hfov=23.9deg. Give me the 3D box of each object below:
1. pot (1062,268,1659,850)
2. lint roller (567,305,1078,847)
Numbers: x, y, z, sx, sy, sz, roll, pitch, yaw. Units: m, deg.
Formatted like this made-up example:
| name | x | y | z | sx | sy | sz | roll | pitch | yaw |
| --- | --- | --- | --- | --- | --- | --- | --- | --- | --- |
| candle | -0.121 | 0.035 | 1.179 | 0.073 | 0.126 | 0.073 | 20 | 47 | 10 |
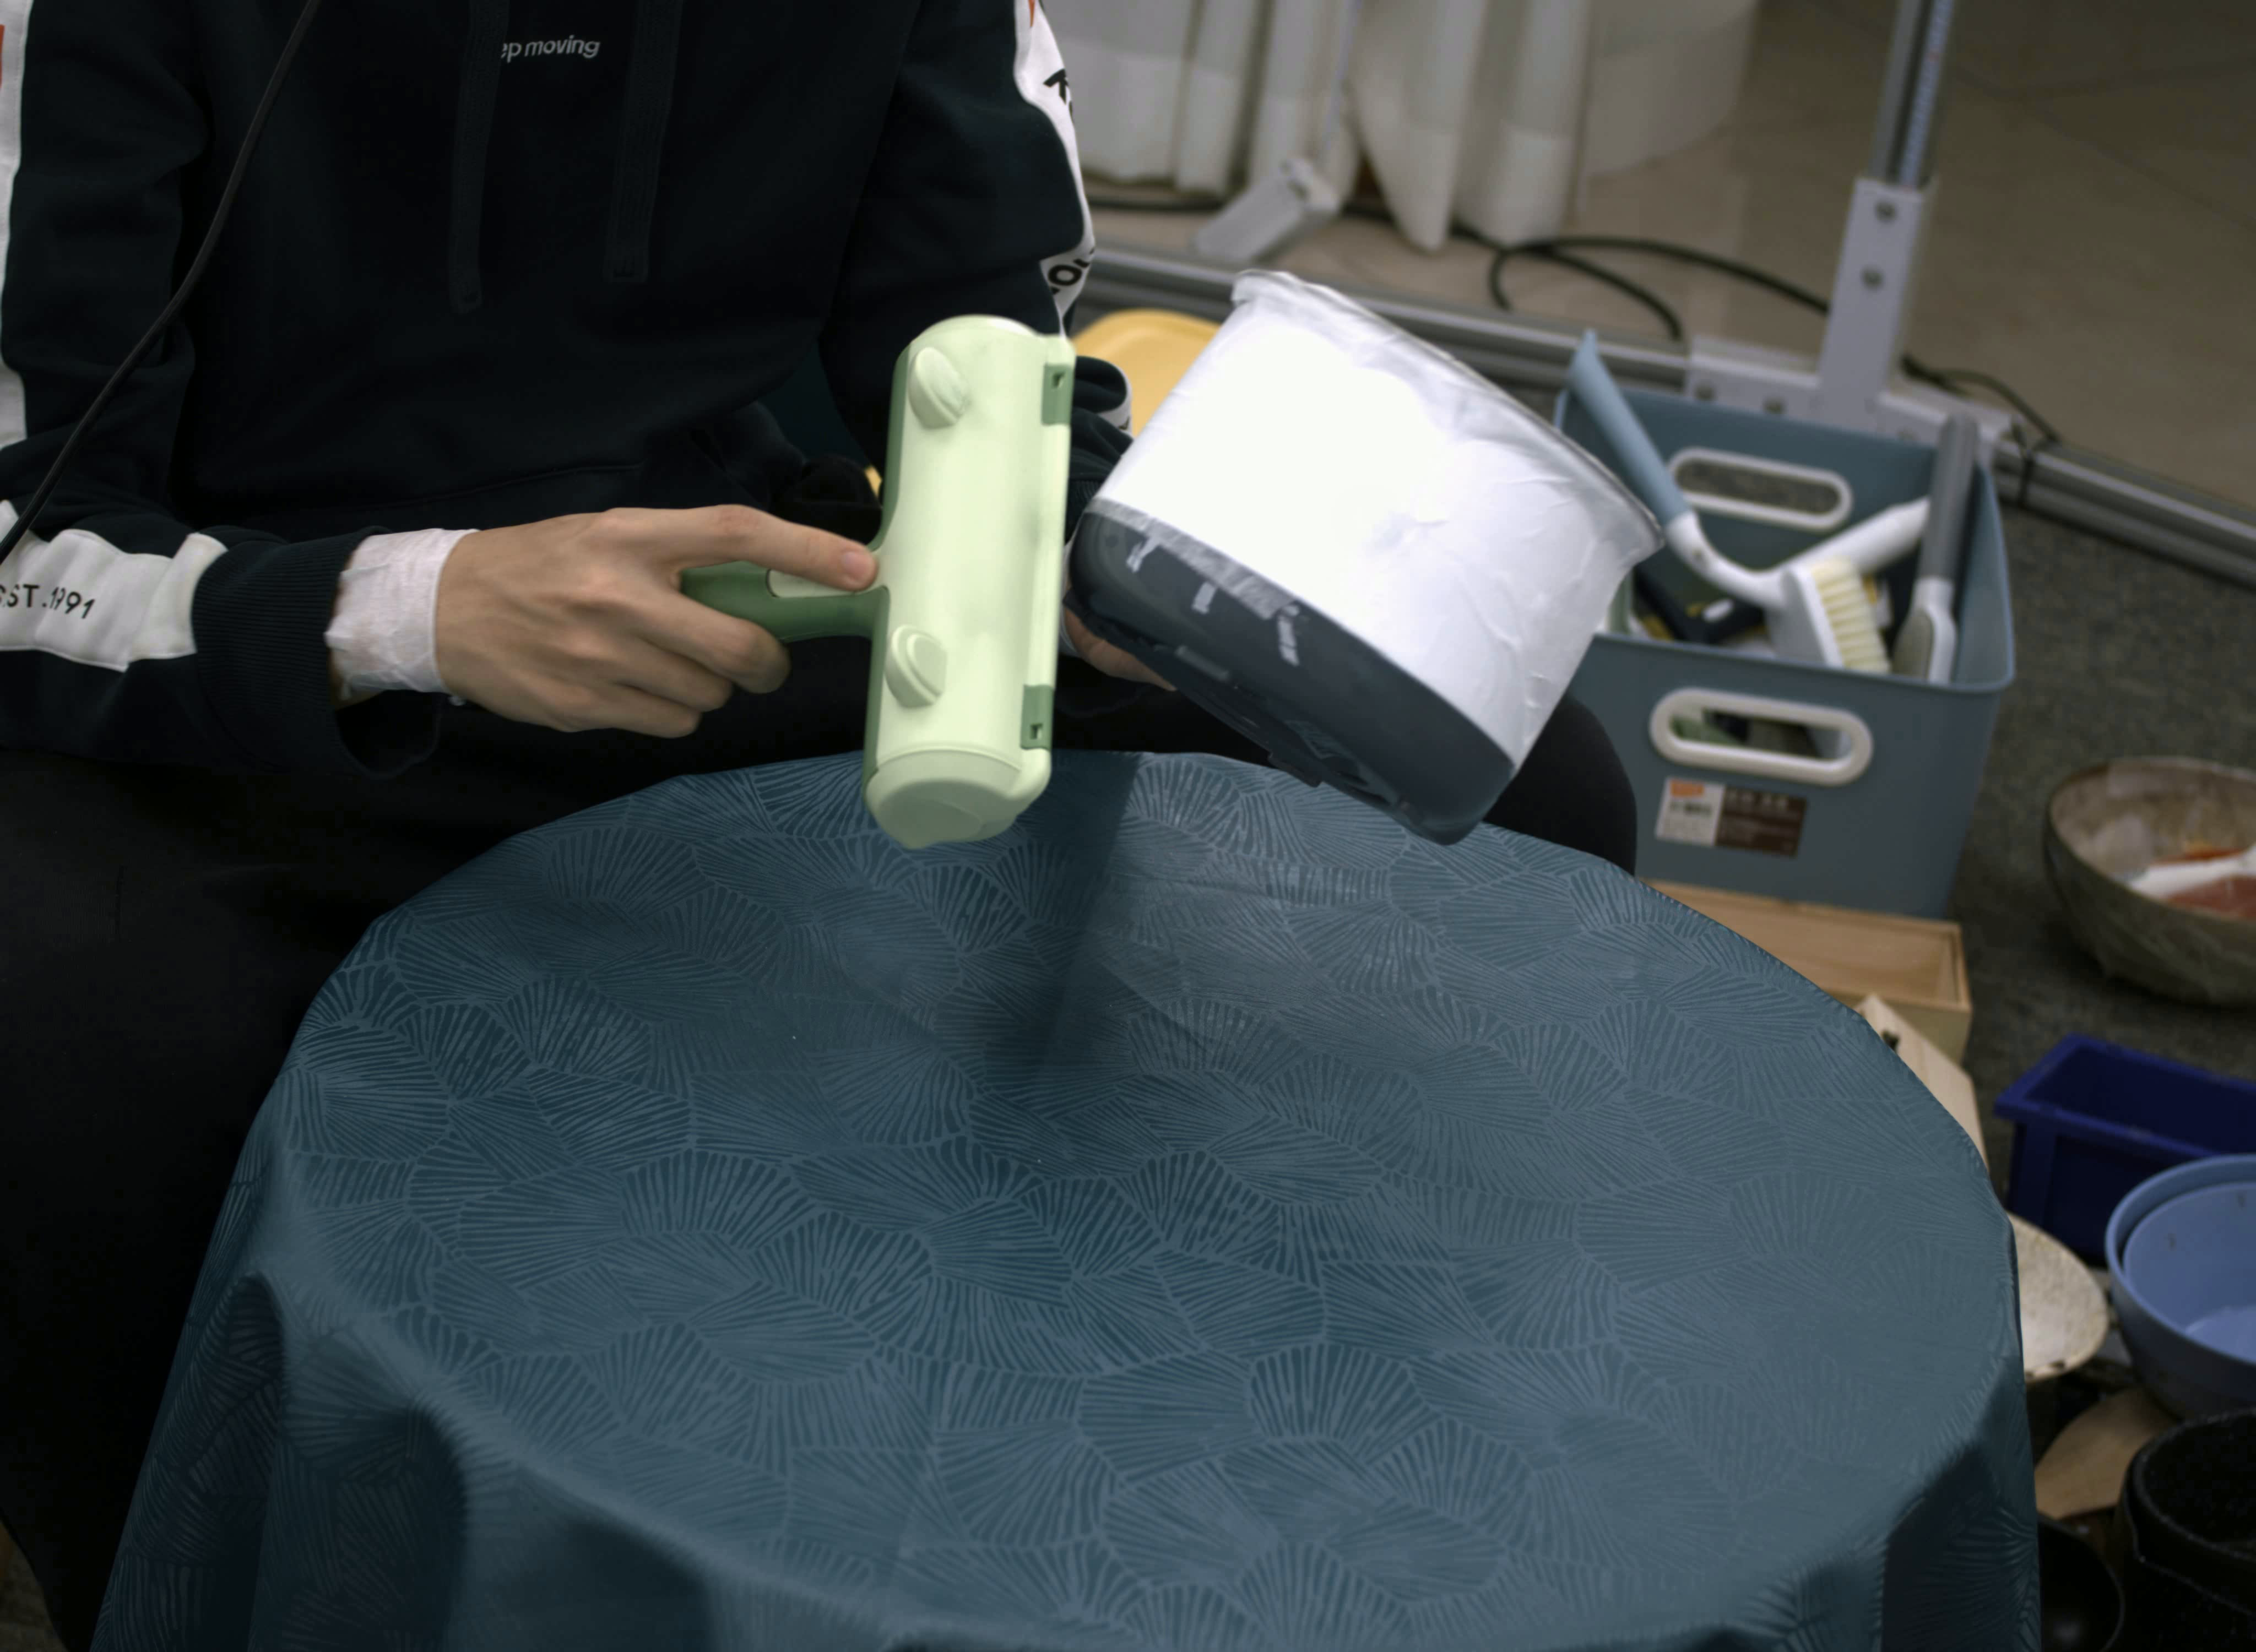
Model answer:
| name | x | y | z | sx | sy | sz | roll | pitch | yaw |
| --- | --- | --- | --- | --- | --- | --- | --- | --- | --- |
| pot | 0.066 | -0.096 | 1.880 | 0.177 | 0.137 | 0.235 | 35 | -4 | -24 |
| lint roller | -0.112 | -0.089 | 1.832 | 0.183 | 0.081 | 0.200 | -2 | 58 | 9 |
